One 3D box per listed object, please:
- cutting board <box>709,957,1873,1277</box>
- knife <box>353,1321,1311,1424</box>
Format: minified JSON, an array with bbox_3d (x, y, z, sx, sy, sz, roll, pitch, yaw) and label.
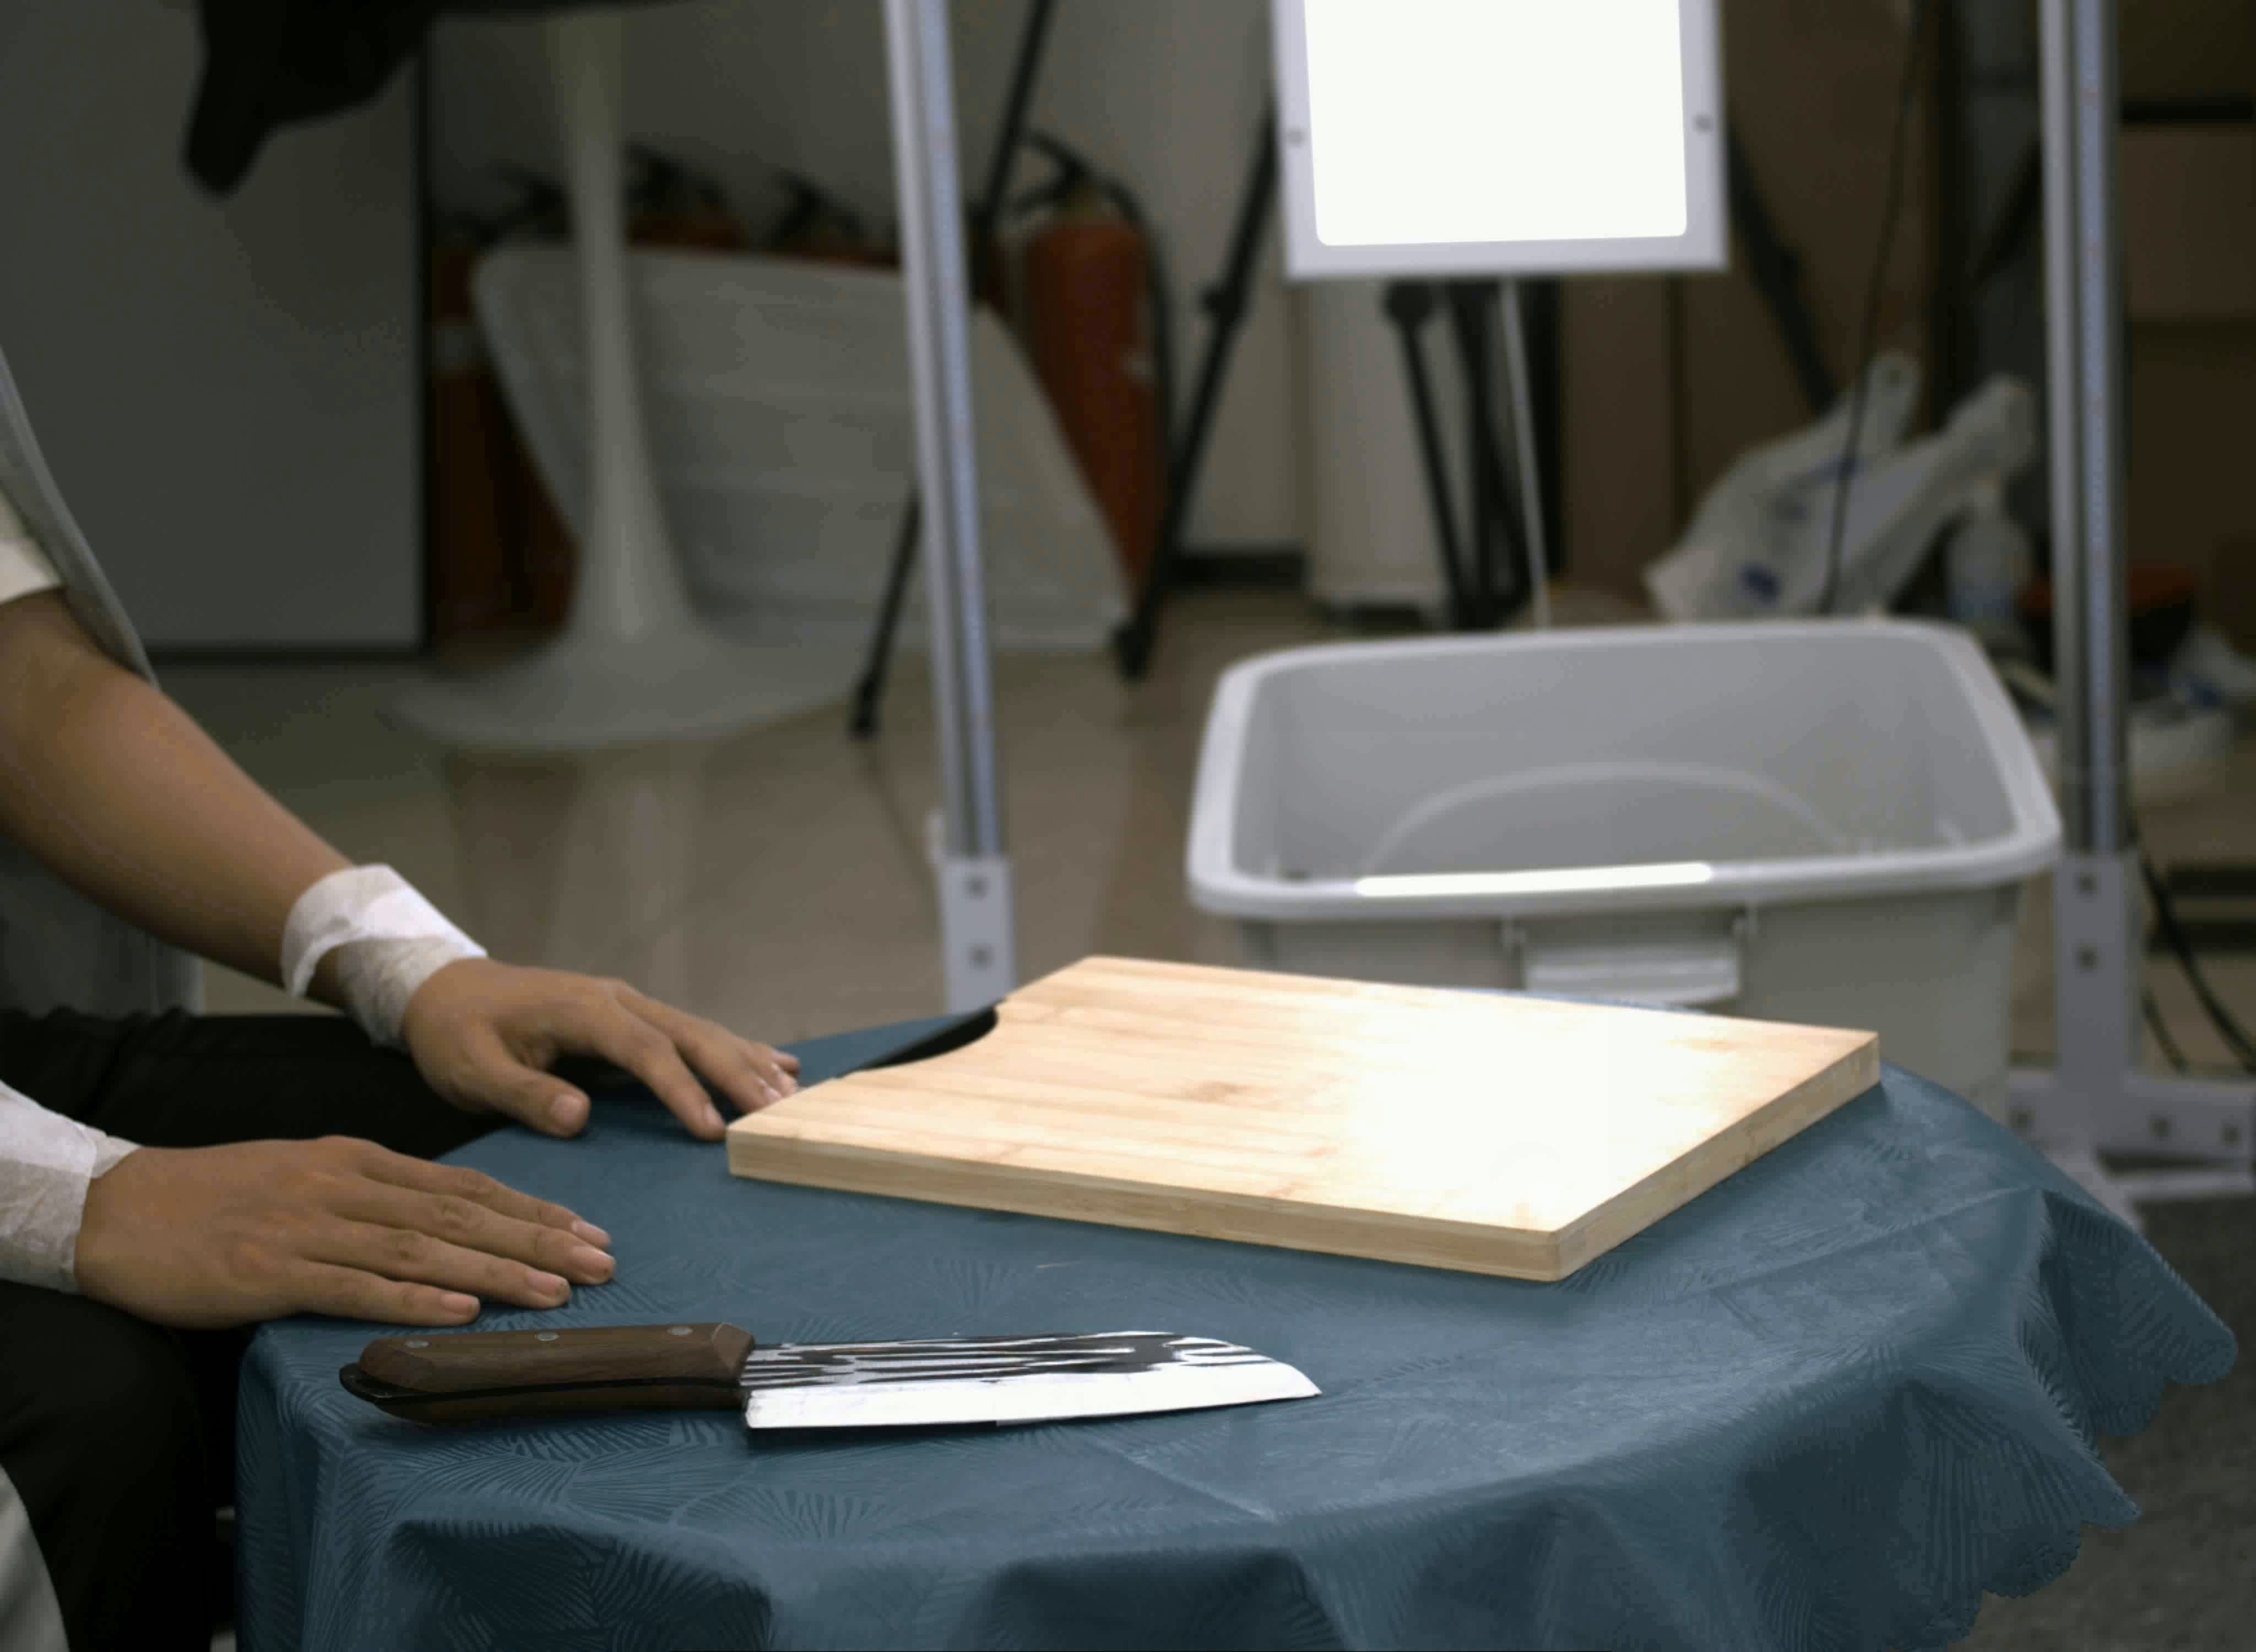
[{"bbox_3d":[0.058,0.099,1.955,0.356,0.023,0.245,4,16,34],"label":"cutting board"},{"bbox_3d":[-0.093,0.171,1.705,0.299,0.024,0.068,-2,15,2],"label":"knife"}]
